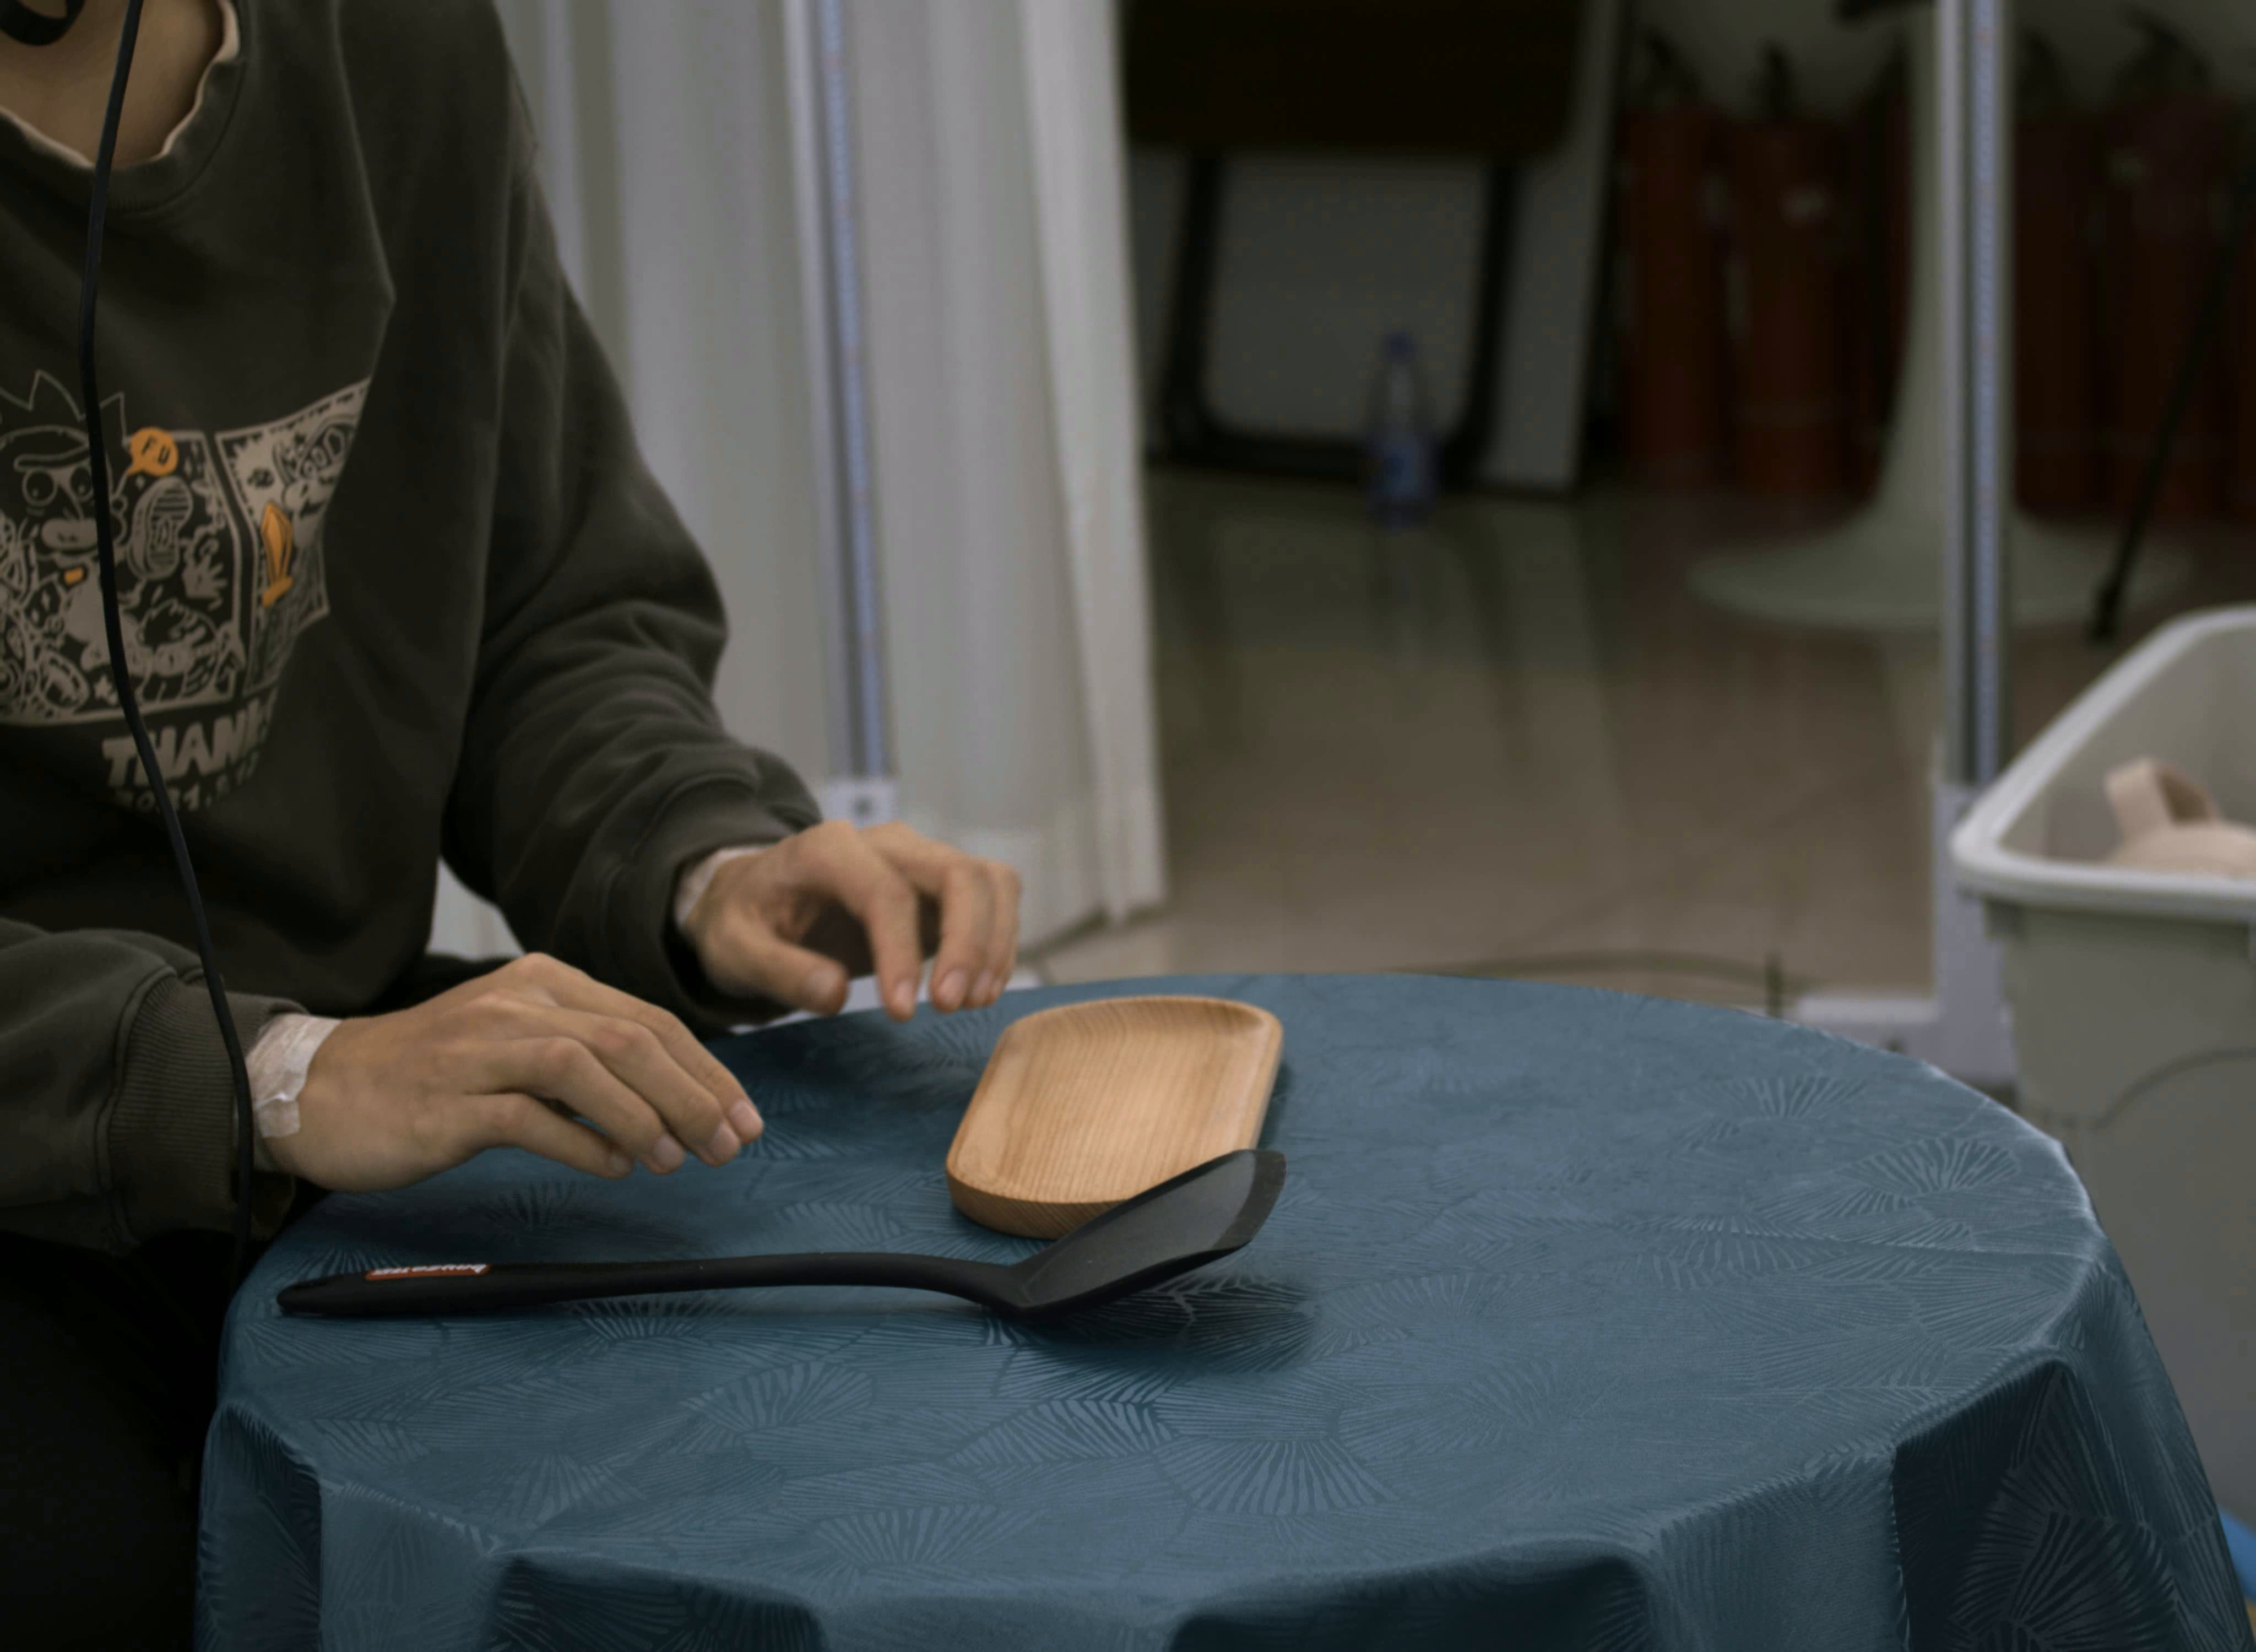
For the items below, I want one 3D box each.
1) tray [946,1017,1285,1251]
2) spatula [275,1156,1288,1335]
[{"bbox_3d":[-0.002,0.102,1.826,0.101,0.020,0.230,-2,15,8],"label":"tray"},{"bbox_3d":[-0.110,0.135,1.676,0.324,0.041,0.099,-1,12,11],"label":"spatula"}]
